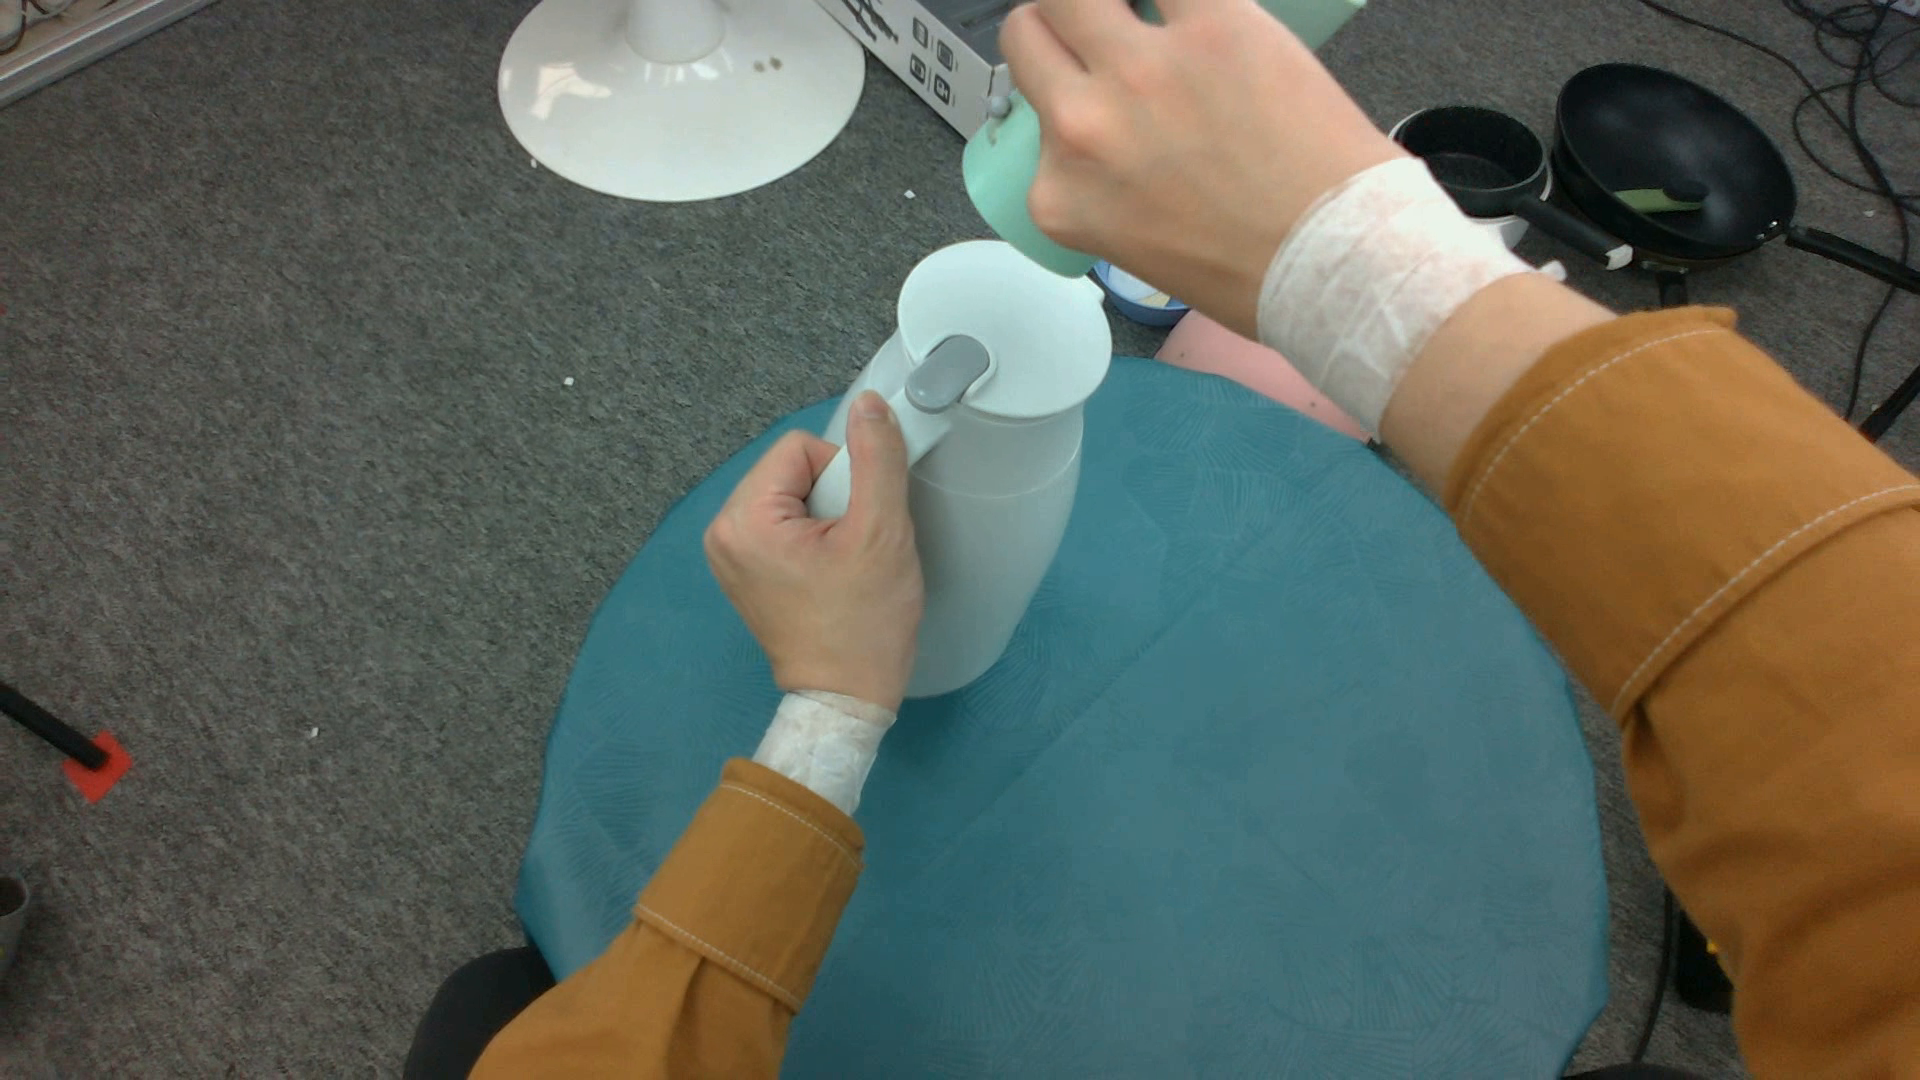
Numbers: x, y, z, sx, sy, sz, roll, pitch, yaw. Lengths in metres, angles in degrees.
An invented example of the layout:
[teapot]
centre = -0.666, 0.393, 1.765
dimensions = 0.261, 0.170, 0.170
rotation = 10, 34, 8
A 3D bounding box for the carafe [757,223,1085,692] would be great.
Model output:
[carafe]
centre = -0.028, -0.027, 0.655
dimensions = 0.132, 0.247, 0.168
rotation = 44, 59, 13

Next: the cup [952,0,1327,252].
[cup]
centre = 0.061, -0.165, 0.470
dimensions = 0.067, 0.131, 0.067
rotation = 27, 41, -27
